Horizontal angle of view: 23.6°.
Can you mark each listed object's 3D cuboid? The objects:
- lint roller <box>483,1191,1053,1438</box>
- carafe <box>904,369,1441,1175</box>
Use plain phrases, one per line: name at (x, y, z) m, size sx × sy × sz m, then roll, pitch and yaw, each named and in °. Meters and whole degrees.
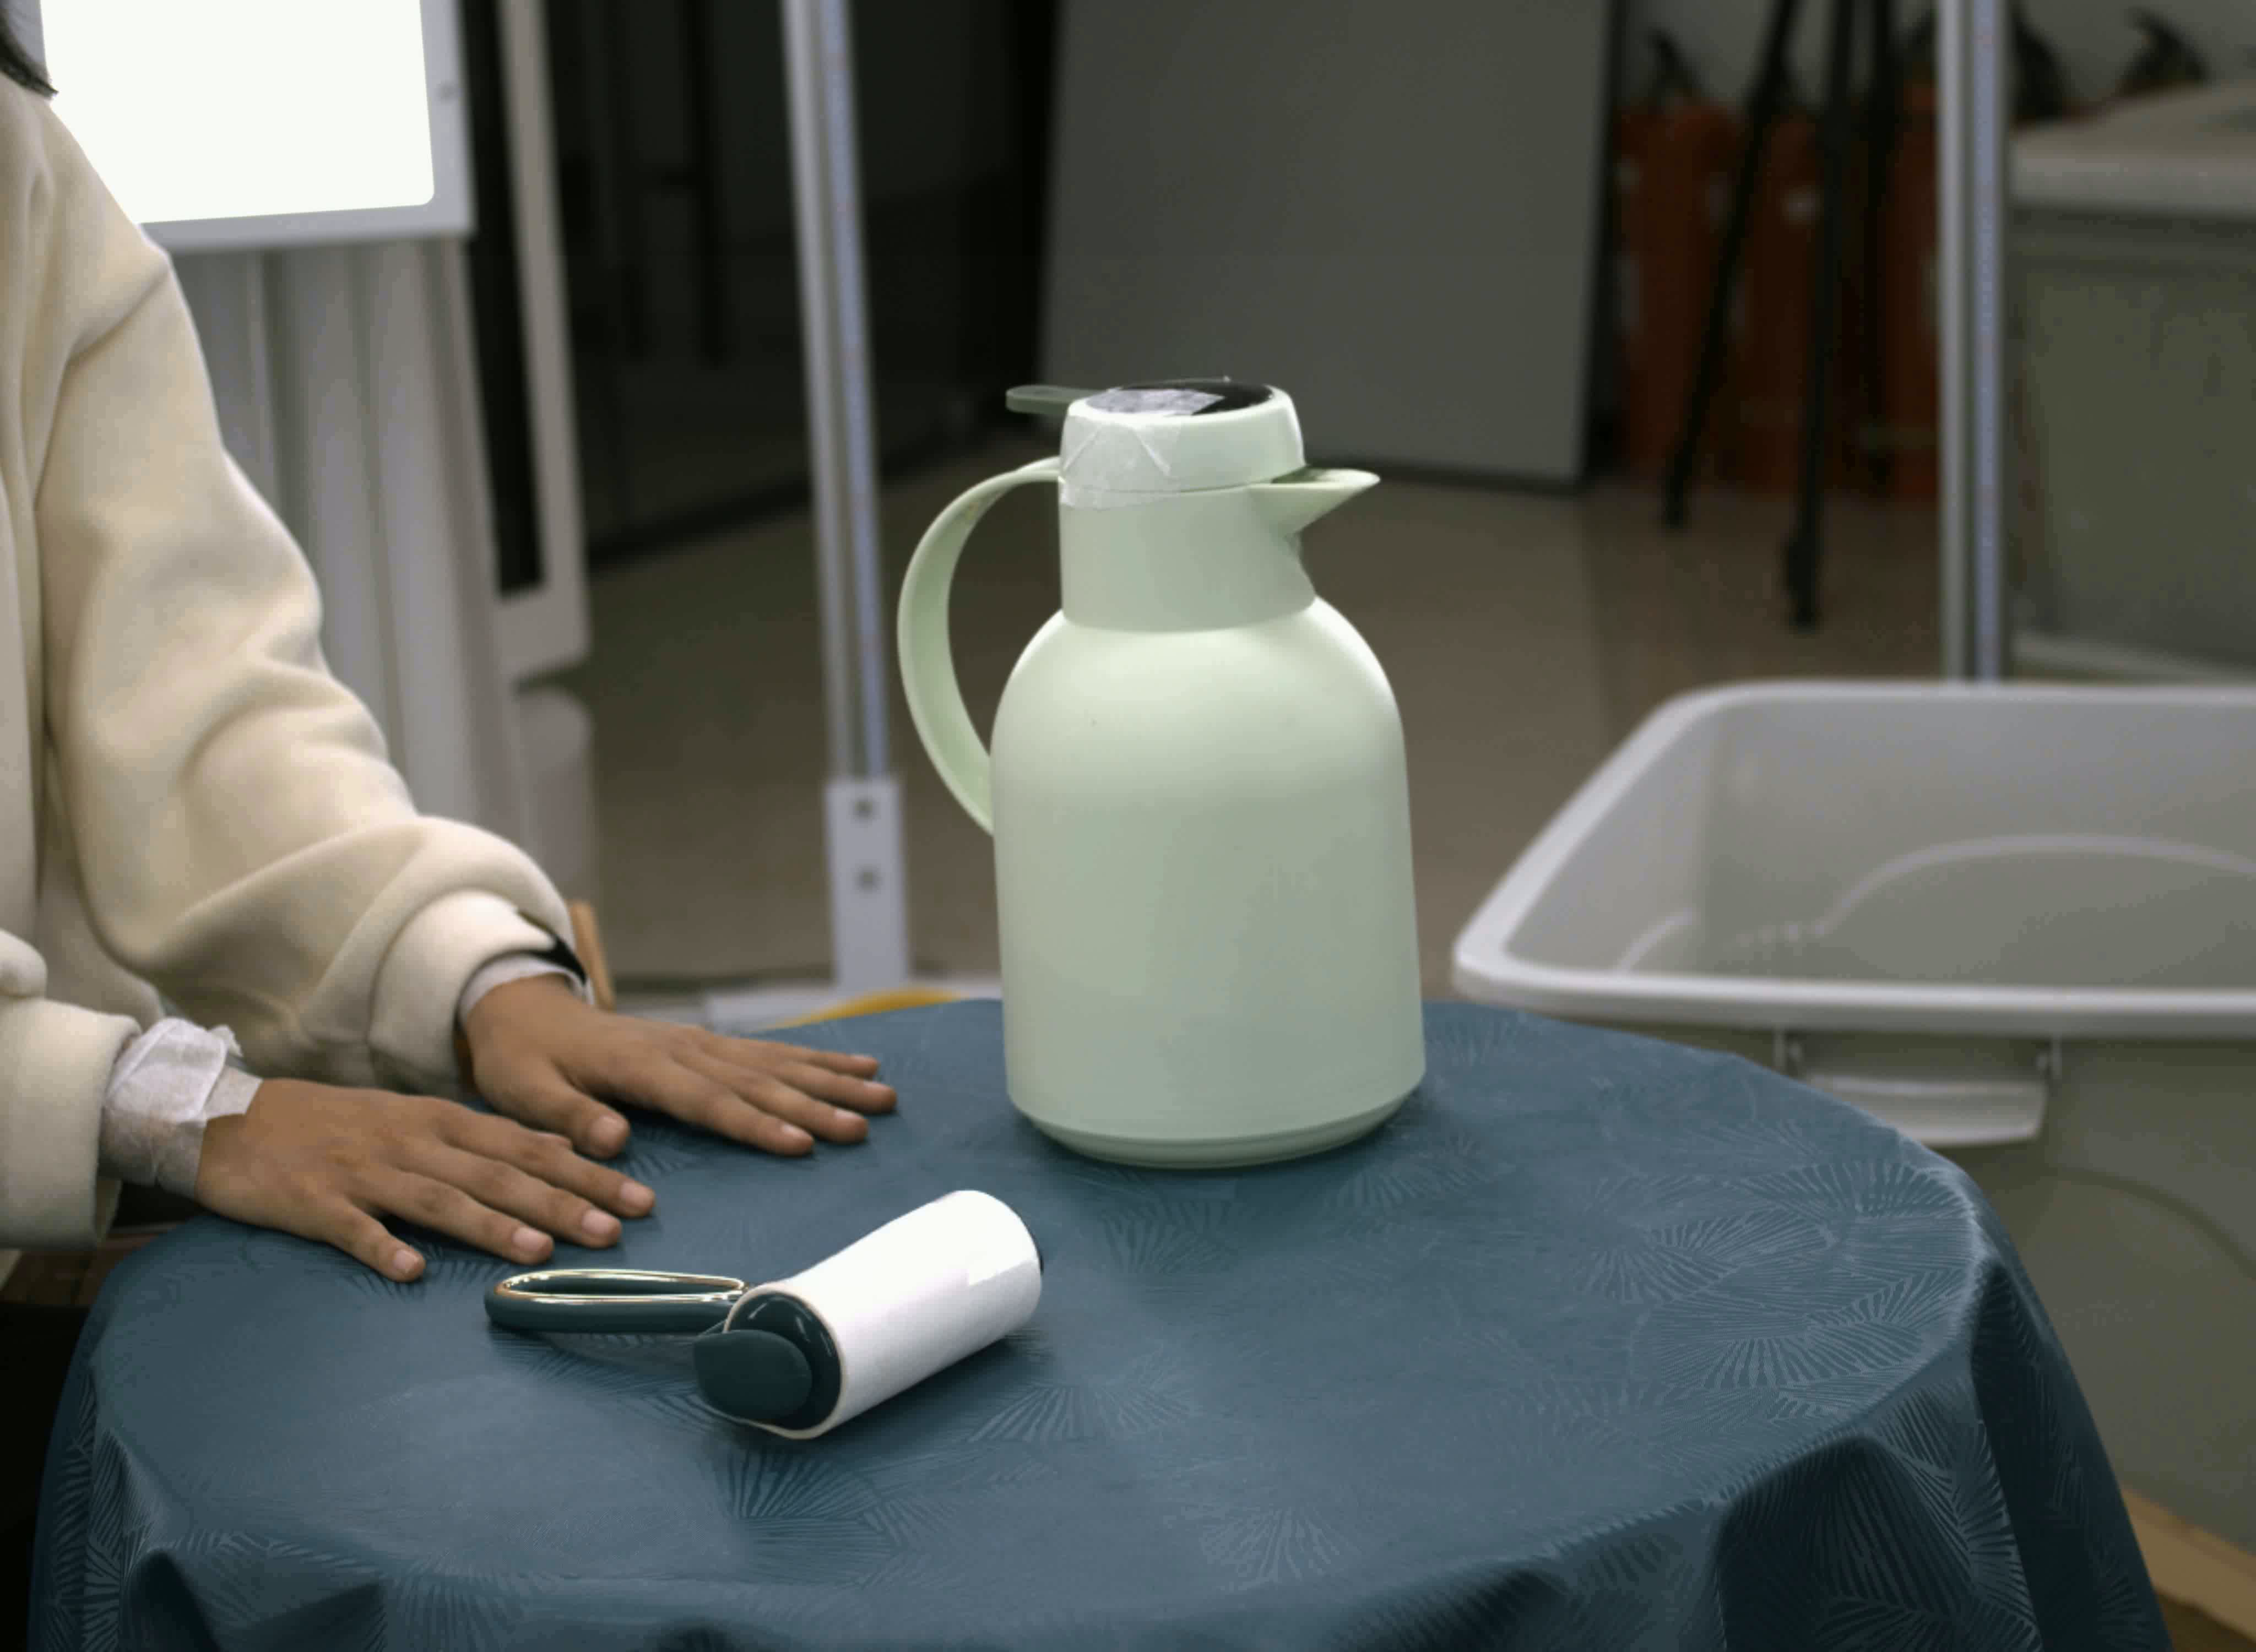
lint roller at (-0.127, 0.138, 1.637) m, size 0.181 × 0.049 × 0.132 m, roll 6°, pitch 16°, yaw 36°
carafe at (0.013, -0.022, 1.825) m, size 0.188 × 0.259 × 0.142 m, roll 0°, pitch 15°, yaw 33°
